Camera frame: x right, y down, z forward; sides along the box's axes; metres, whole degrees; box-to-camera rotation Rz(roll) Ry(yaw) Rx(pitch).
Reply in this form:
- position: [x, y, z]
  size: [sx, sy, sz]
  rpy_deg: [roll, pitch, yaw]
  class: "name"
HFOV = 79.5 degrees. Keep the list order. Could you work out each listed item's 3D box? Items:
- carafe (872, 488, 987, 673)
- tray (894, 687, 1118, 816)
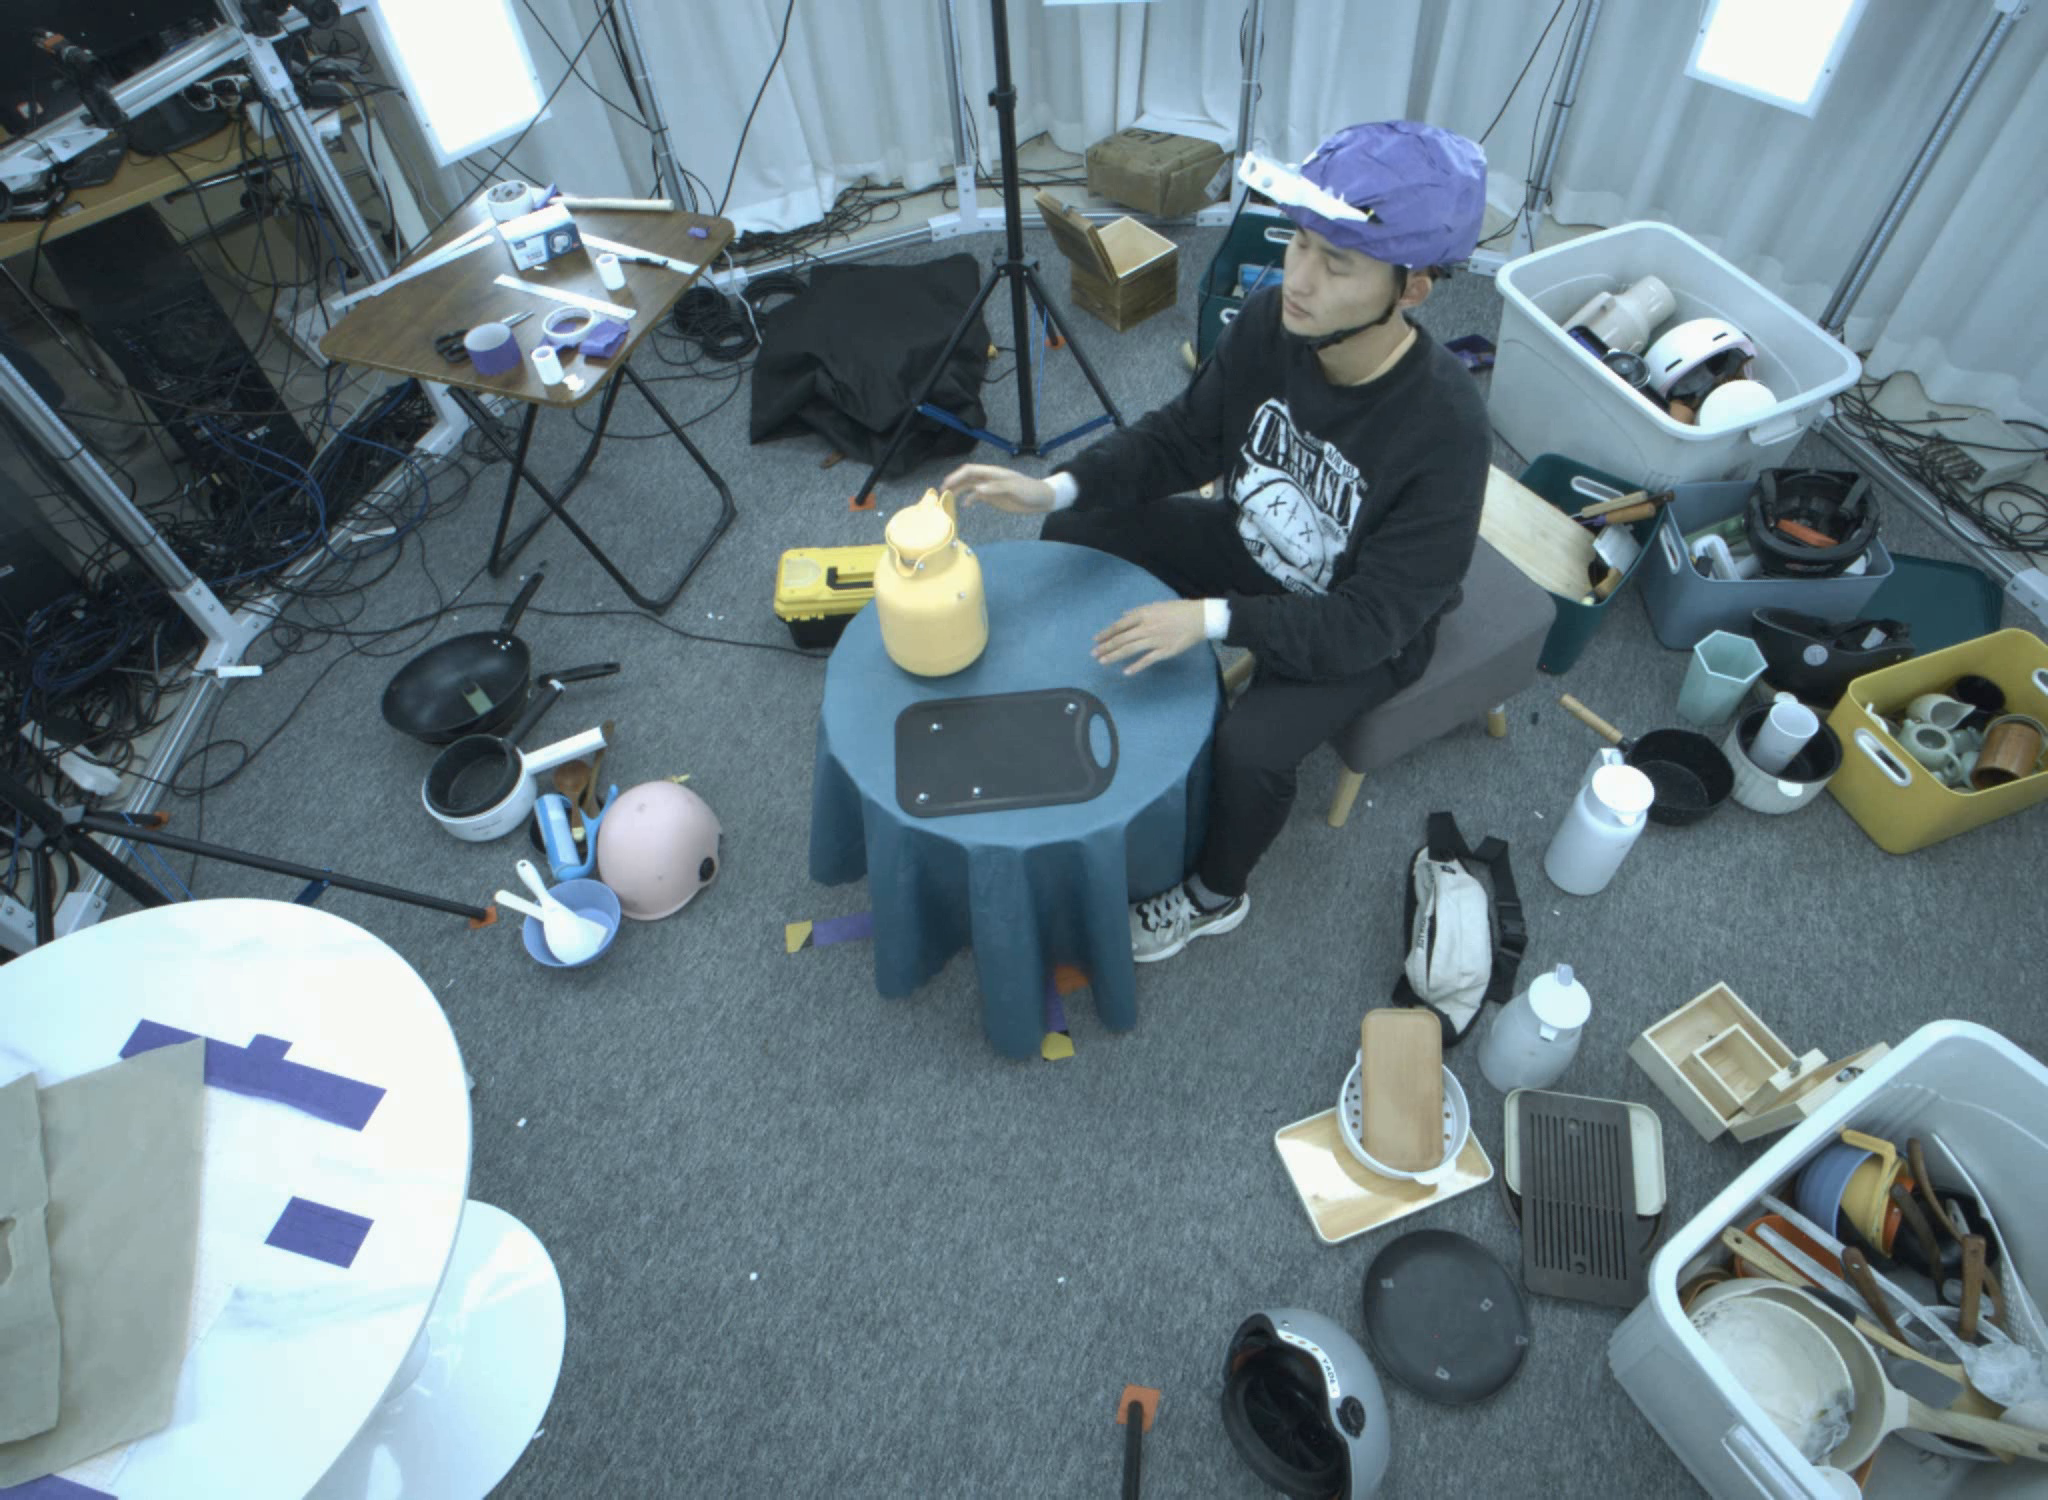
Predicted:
- position: [-0.136, -0.257, 1.808]
  size: [0.162, 0.263, 0.201]
  rpy_deg: [13, 58, 9]
  class: "carafe"
- position: [-0.027, -0.003, 1.782]
  size: [0.326, 0.010, 0.208]
  rpy_deg: [-5, 55, -2]
  class: "tray"
